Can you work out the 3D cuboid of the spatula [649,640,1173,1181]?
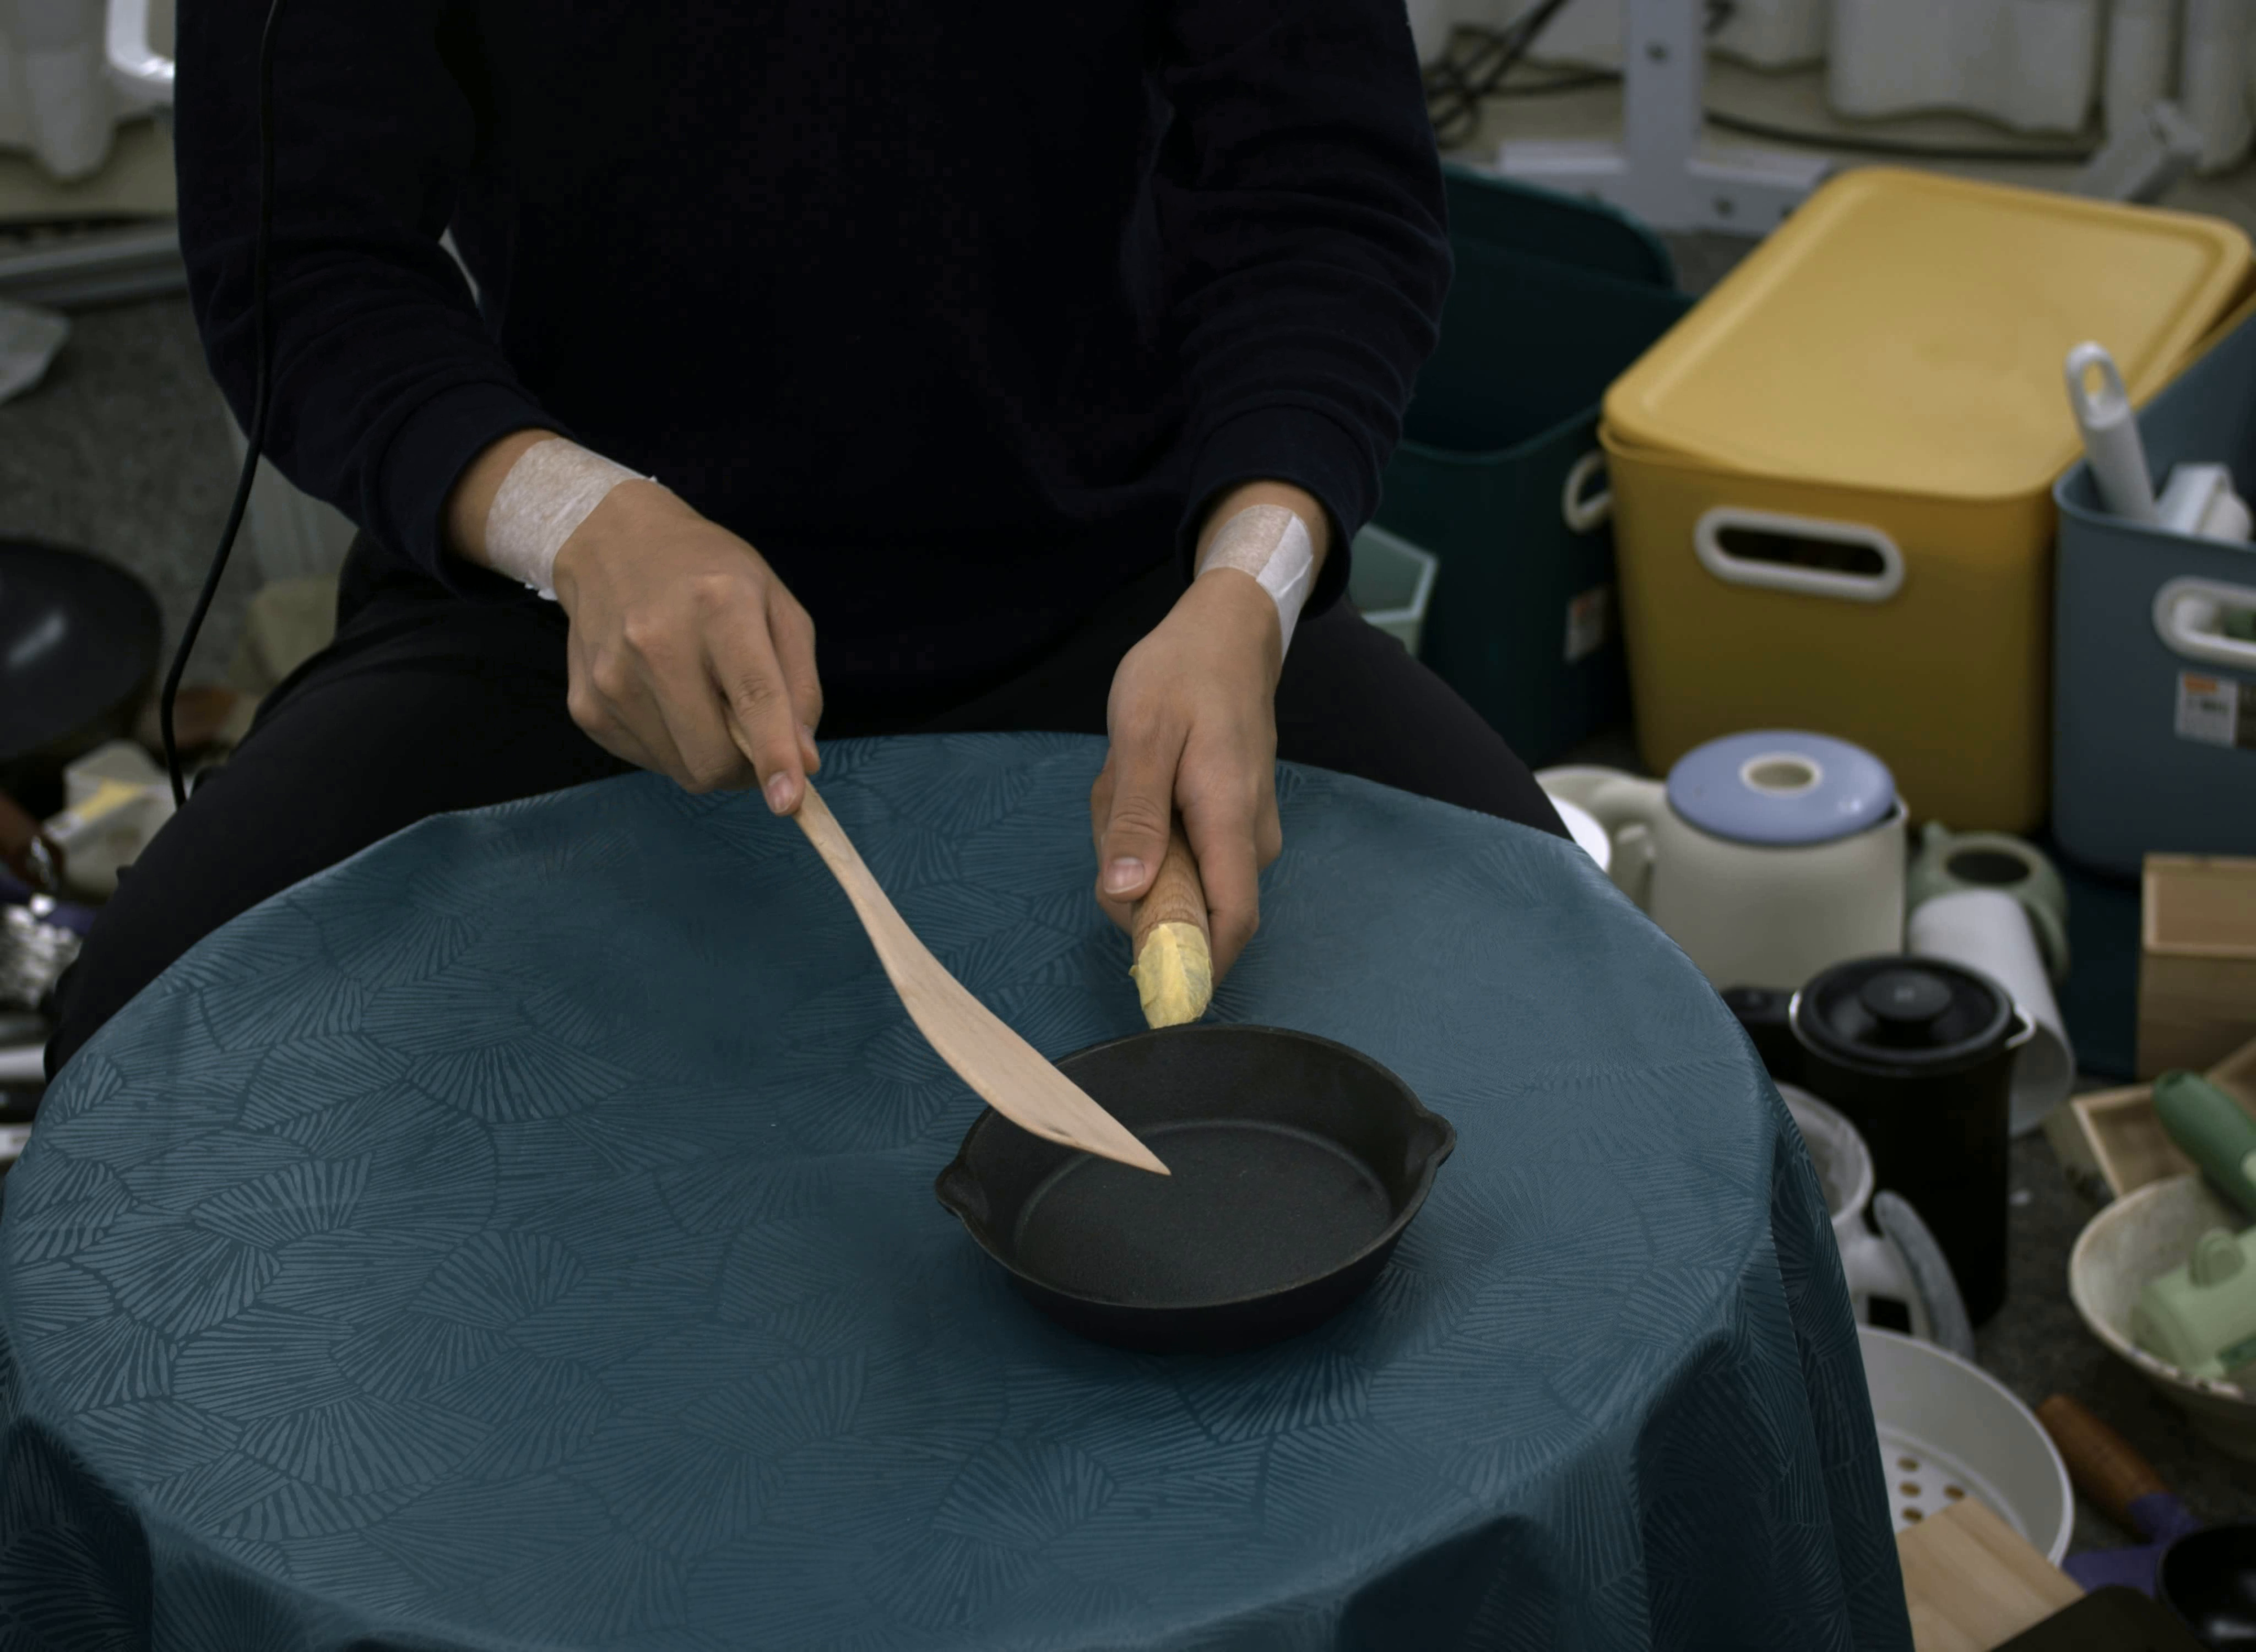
[{"bbox_3d":[-0.082,0.023,1.857,0.079,0.016,0.330,27,15,-43],"label":"spatula"}]

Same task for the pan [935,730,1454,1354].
[{"bbox_3d":[0.020,0.070,1.887,0.168,0.049,0.329,-5,32,1],"label":"pan"}]
